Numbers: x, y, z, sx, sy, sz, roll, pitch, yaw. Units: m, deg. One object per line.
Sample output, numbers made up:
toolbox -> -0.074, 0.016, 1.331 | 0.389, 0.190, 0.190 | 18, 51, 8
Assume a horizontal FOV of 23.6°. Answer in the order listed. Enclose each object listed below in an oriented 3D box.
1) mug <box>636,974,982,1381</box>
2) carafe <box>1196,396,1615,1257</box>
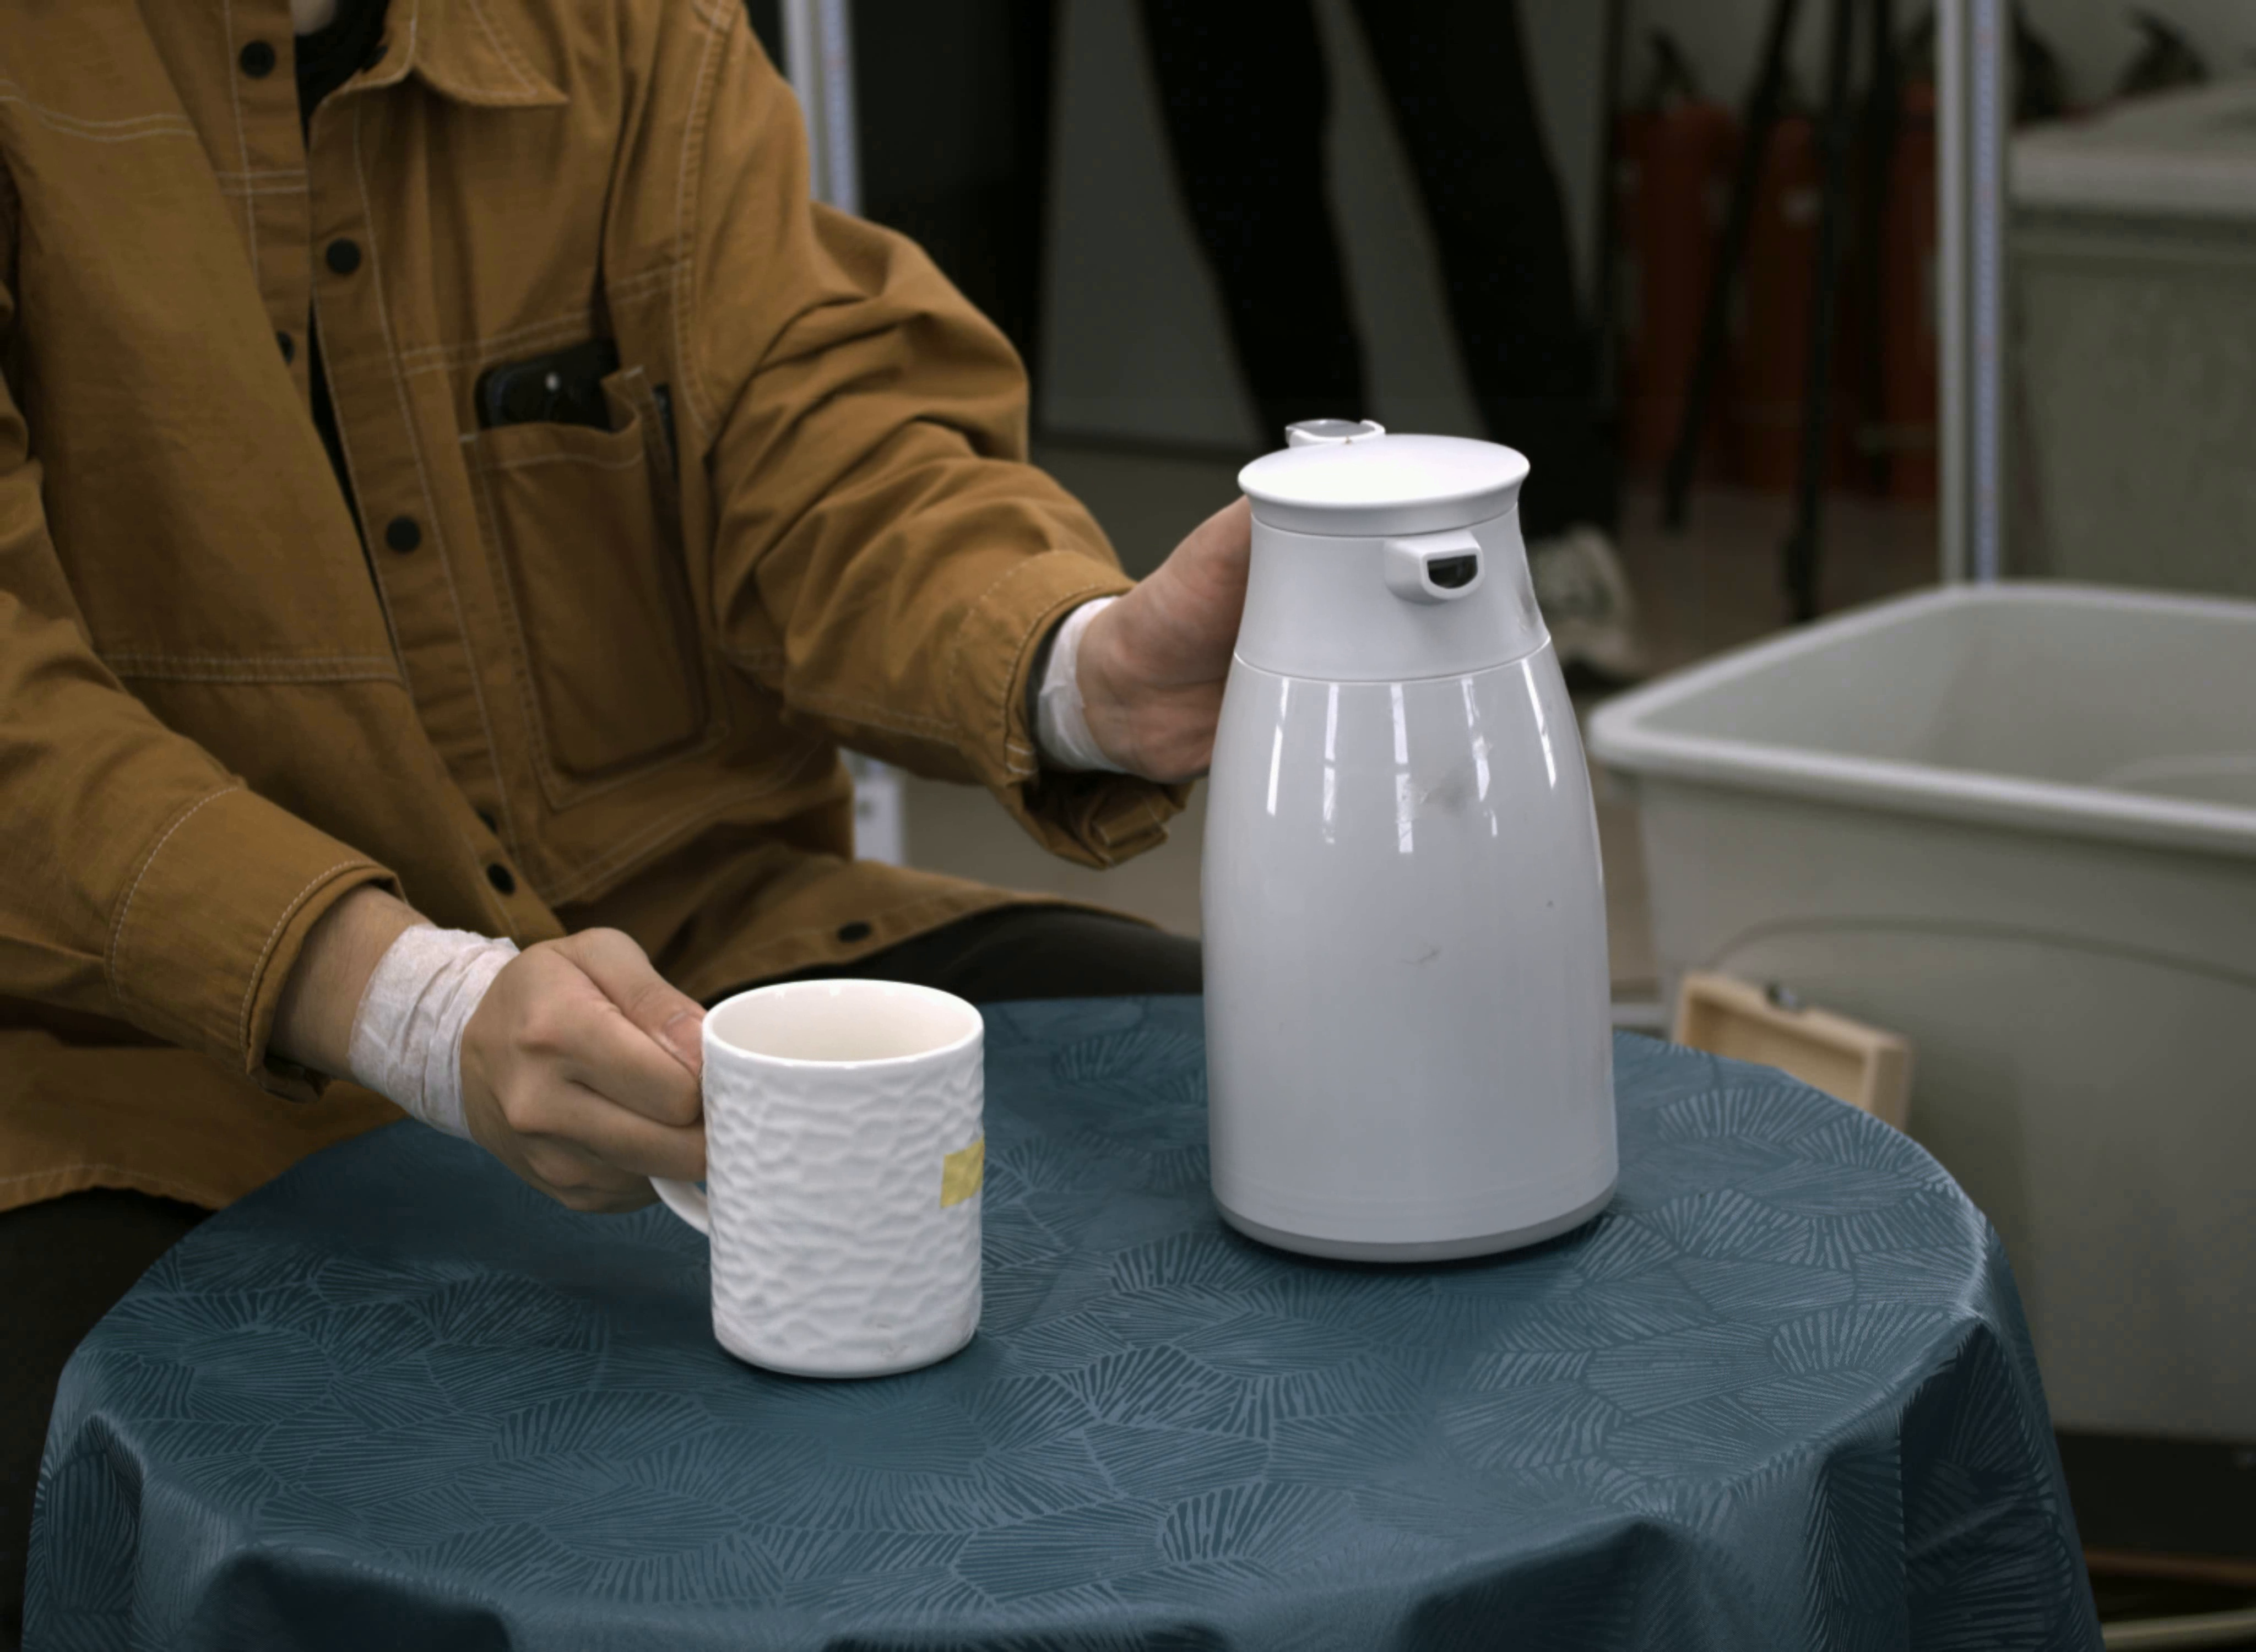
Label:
mug -> -0.100, 0.104, 1.644 | 0.119, 0.103, 0.083 | 9, 18, 32
carafe -> 0.077, -0.008, 1.717 | 0.130, 0.251, 0.169 | -9, 16, -16
